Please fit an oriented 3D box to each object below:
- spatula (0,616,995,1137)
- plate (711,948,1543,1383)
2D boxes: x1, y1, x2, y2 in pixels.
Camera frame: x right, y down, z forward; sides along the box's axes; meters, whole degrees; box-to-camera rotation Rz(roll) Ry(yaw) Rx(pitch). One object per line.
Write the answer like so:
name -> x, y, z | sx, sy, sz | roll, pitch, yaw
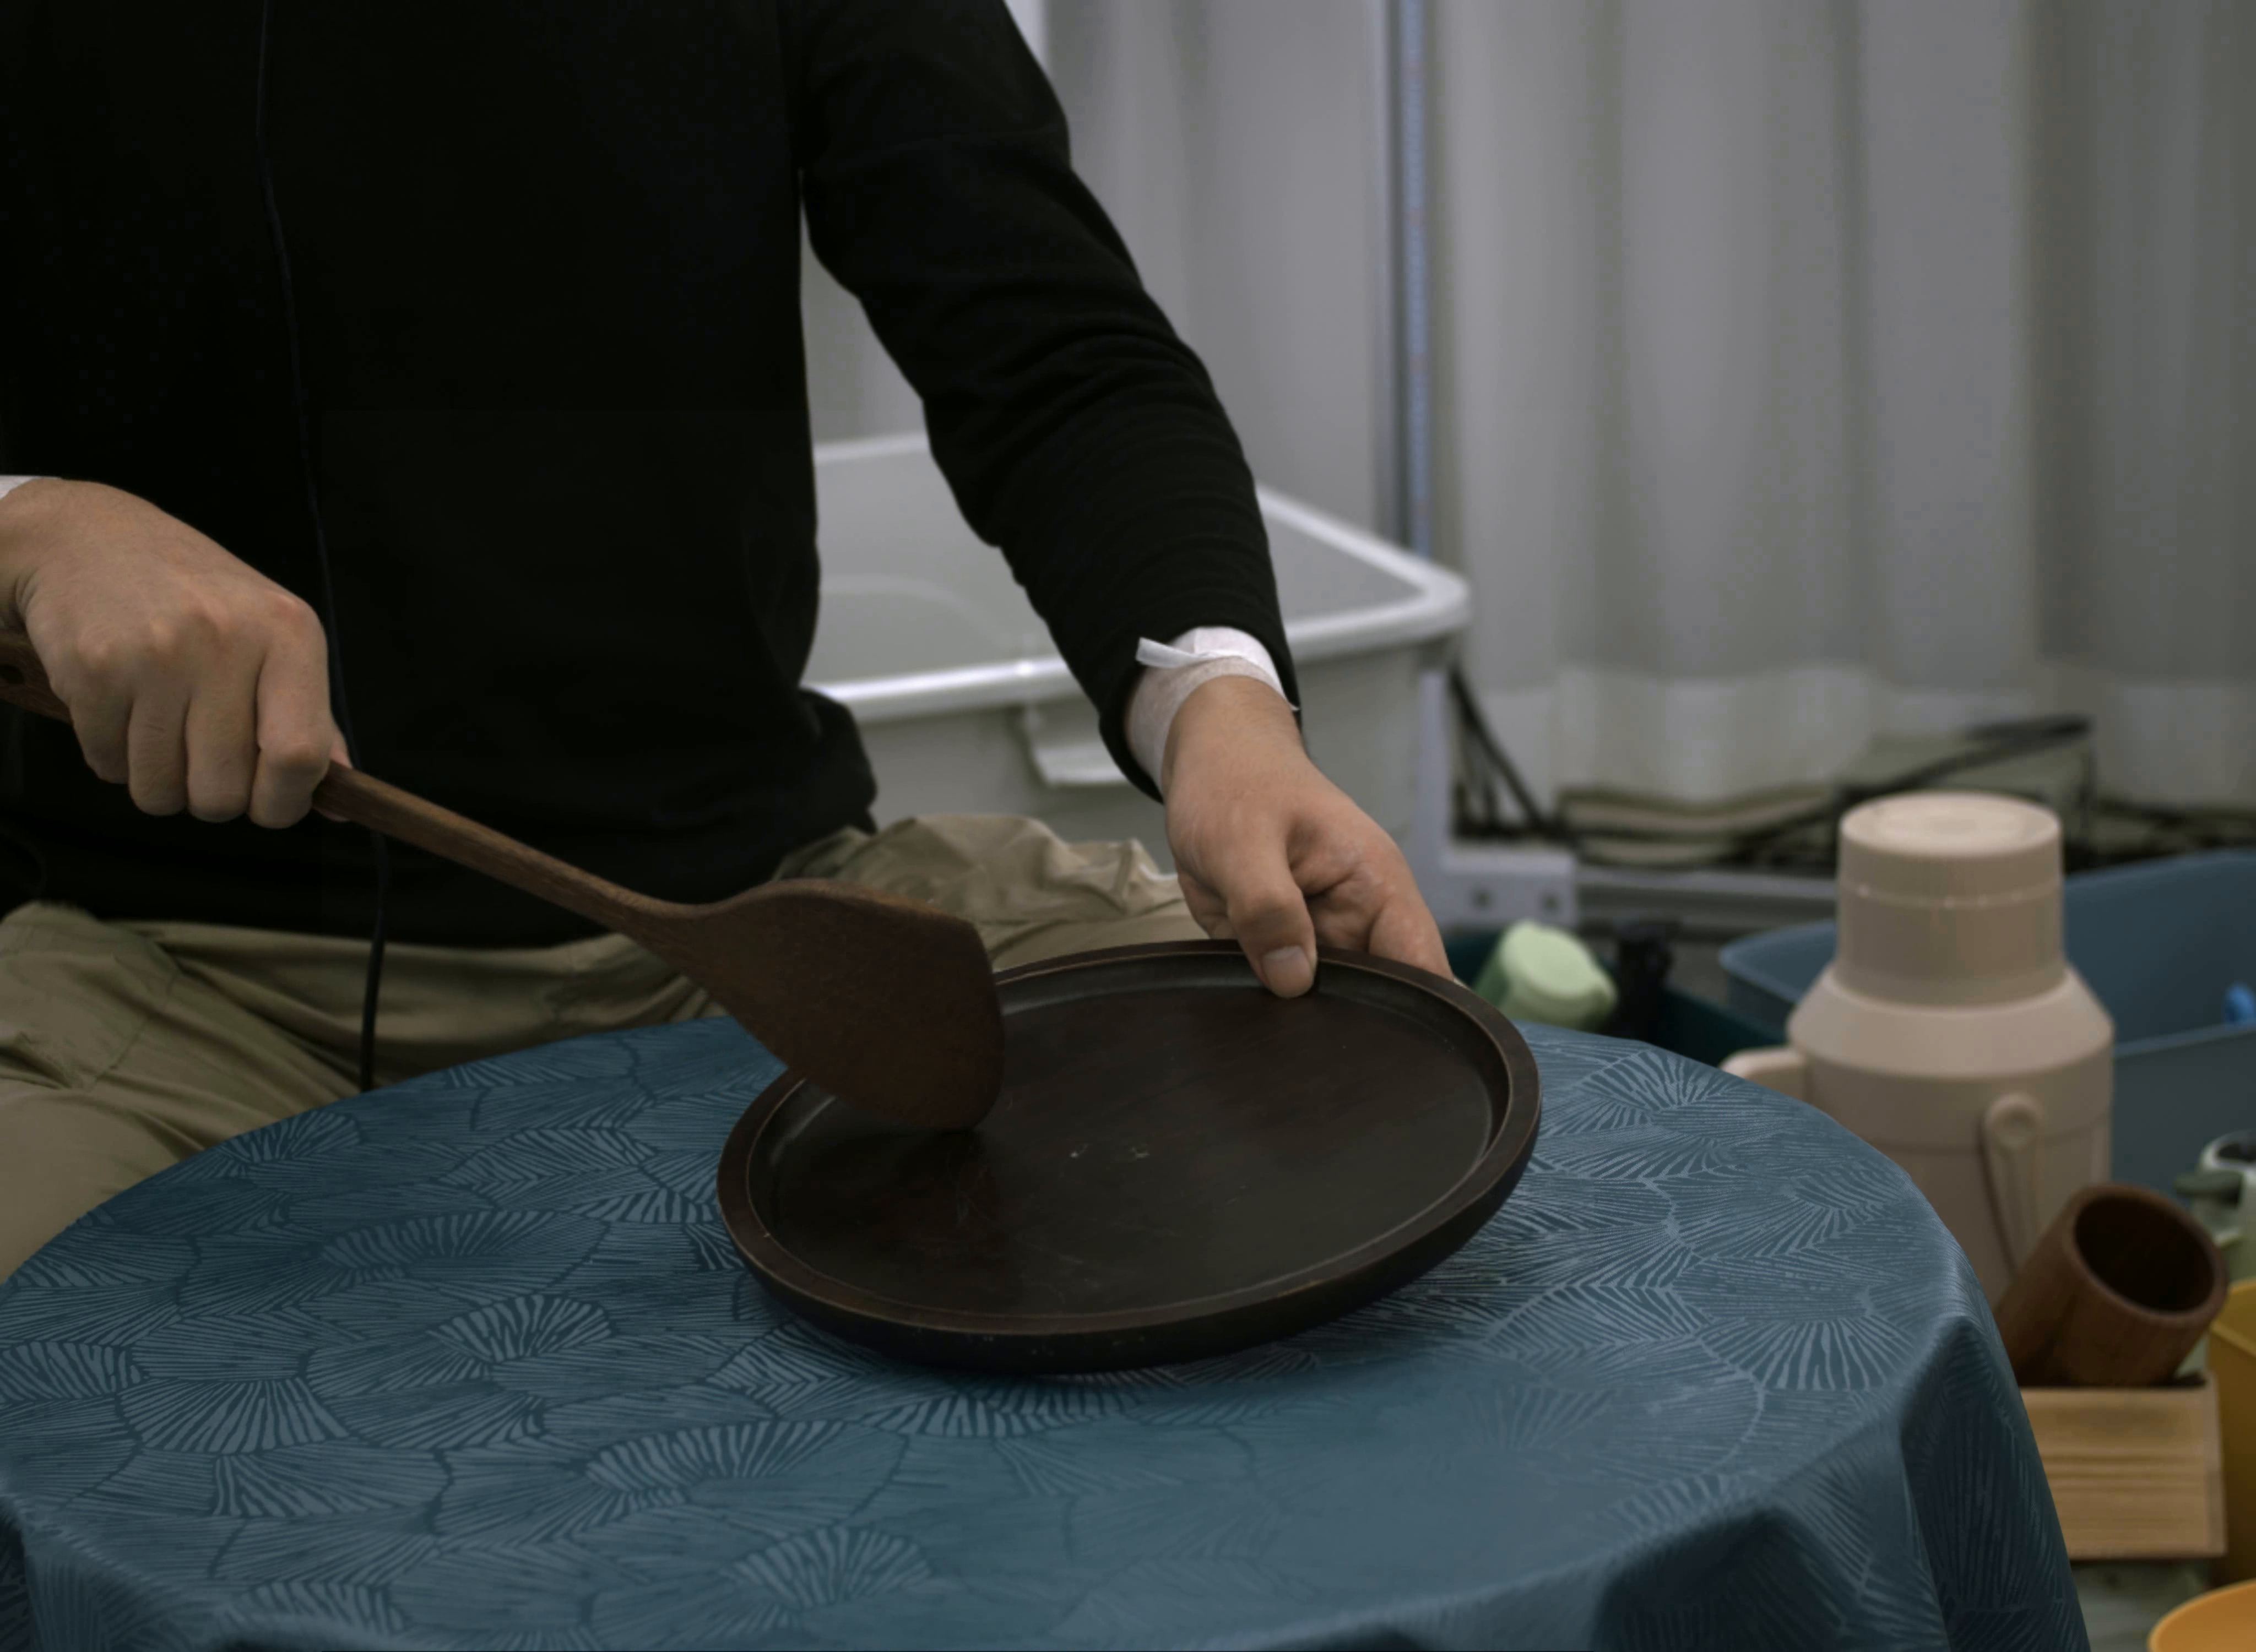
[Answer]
spatula -> -0.209, 0.004, 1.711 | 0.387, 0.095, 0.016 | 21, 45, 22
plate -> 0.000, 0.100, 1.654 | 0.254, 0.029, 0.257 | -6, 25, 3
